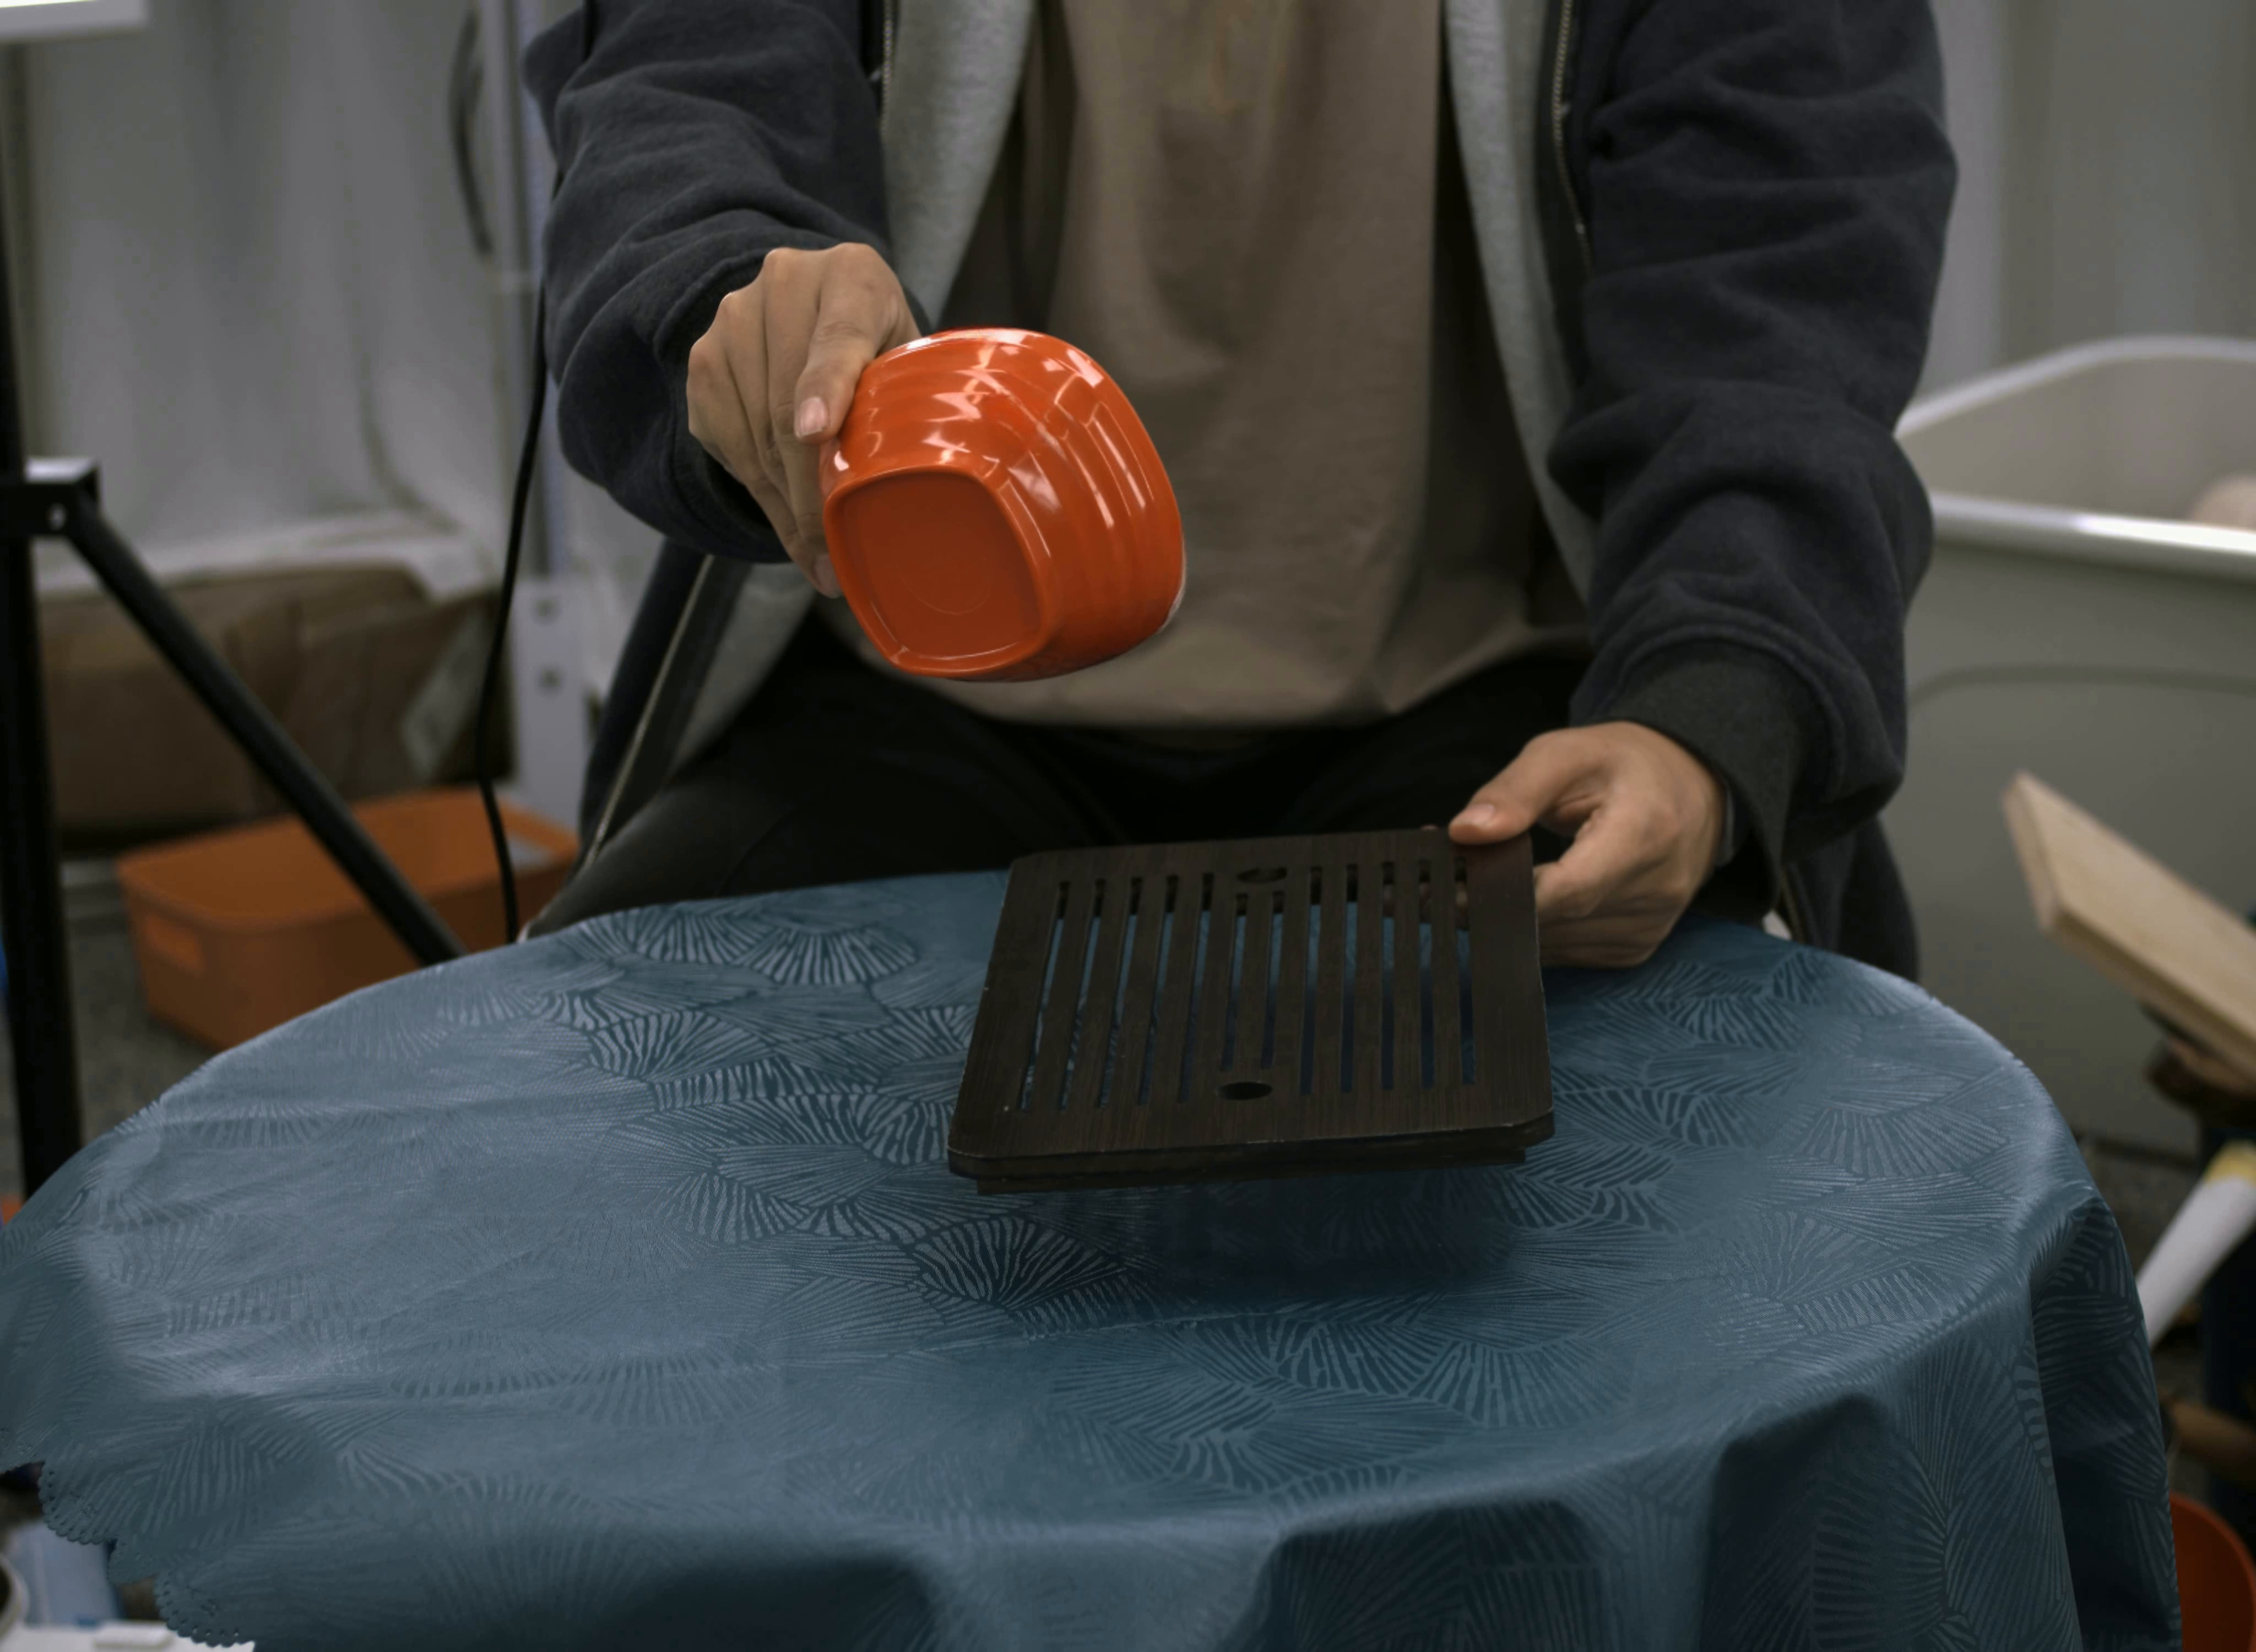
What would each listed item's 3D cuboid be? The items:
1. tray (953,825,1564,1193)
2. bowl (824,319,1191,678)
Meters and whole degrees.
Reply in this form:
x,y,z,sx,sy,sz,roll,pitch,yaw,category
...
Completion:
x,y,z,sx,sy,sz,roll,pitch,yaw,category
0.042,0.053,1.598,0.170,0.018,0.306,-4,15,4,tray
-0.043,-0.086,1.548,0.121,0.118,0.051,7,33,29,bowl
